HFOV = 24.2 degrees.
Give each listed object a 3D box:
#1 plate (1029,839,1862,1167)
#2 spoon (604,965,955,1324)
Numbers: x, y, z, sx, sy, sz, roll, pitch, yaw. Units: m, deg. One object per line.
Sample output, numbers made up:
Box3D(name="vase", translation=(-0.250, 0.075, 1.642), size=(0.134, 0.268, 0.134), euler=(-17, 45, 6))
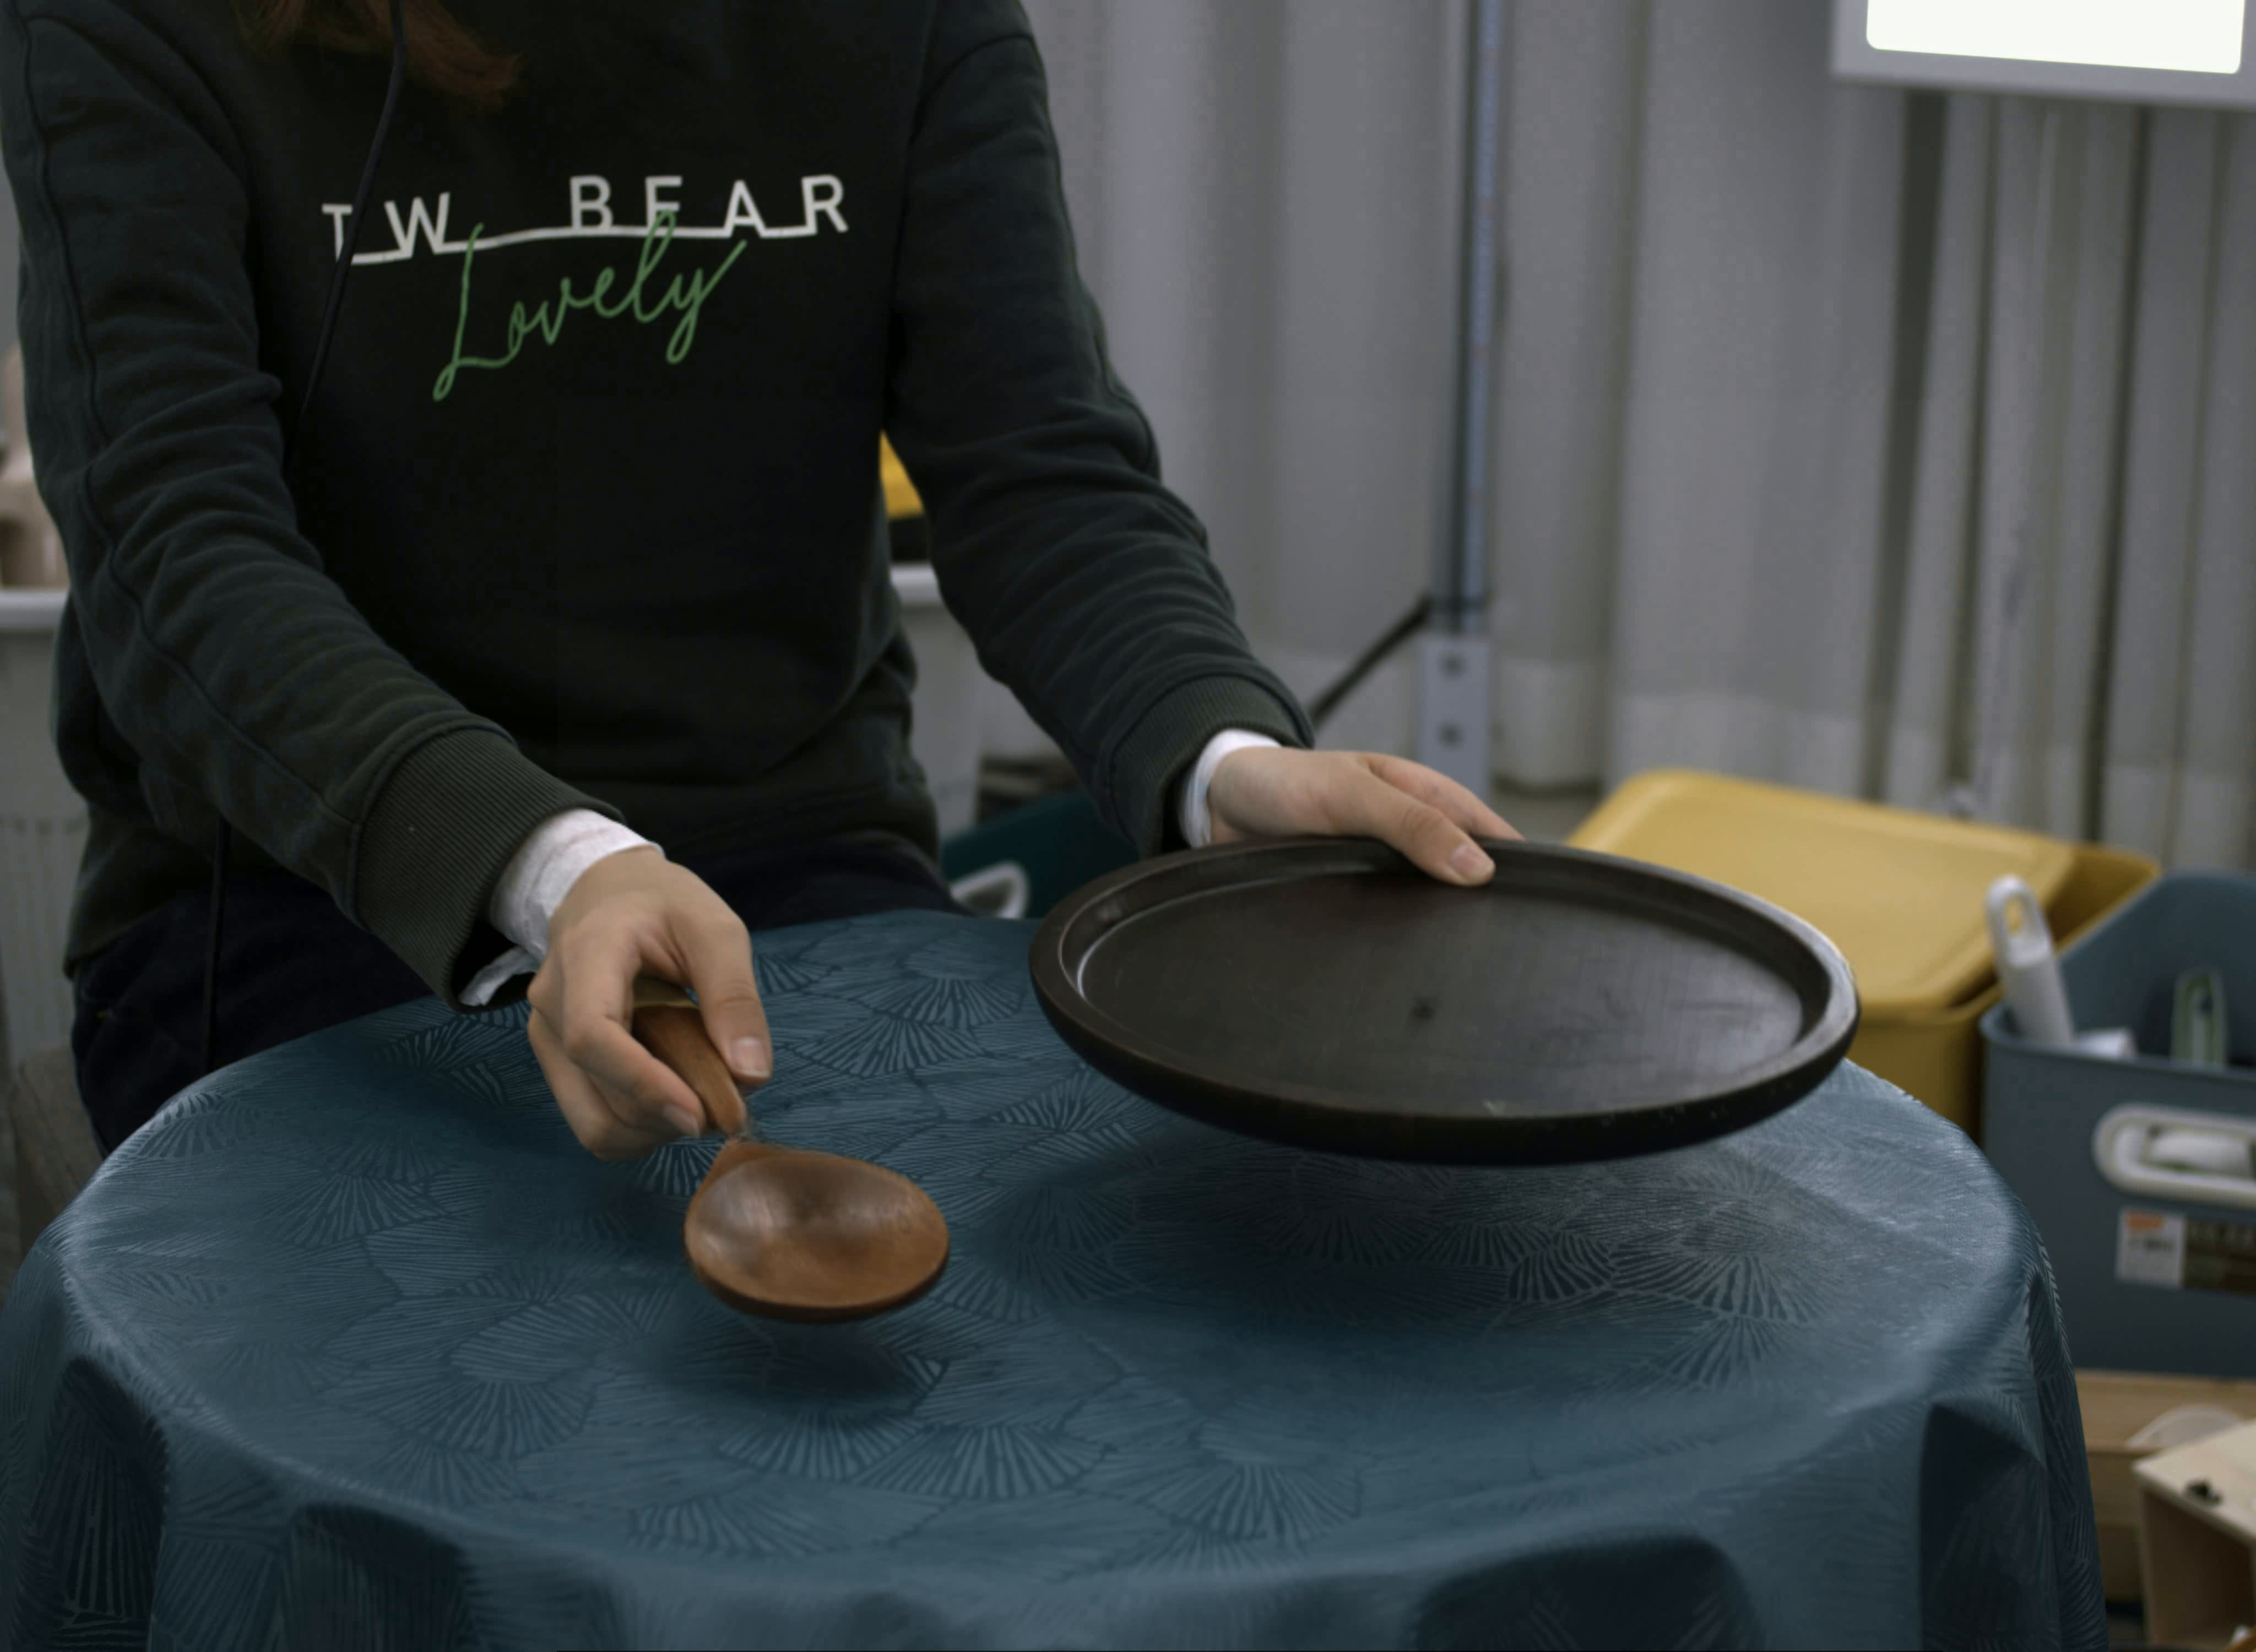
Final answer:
Box3D(name="plate", translation=(0.096, 0.050, 1.599), size=(0.254, 0.029, 0.253), euler=(4, 19, -1))
Box3D(name="spoon", translation=(-0.111, 0.092, 1.535), size=(0.075, 0.017, 0.213), euler=(-12, 29, -19))
